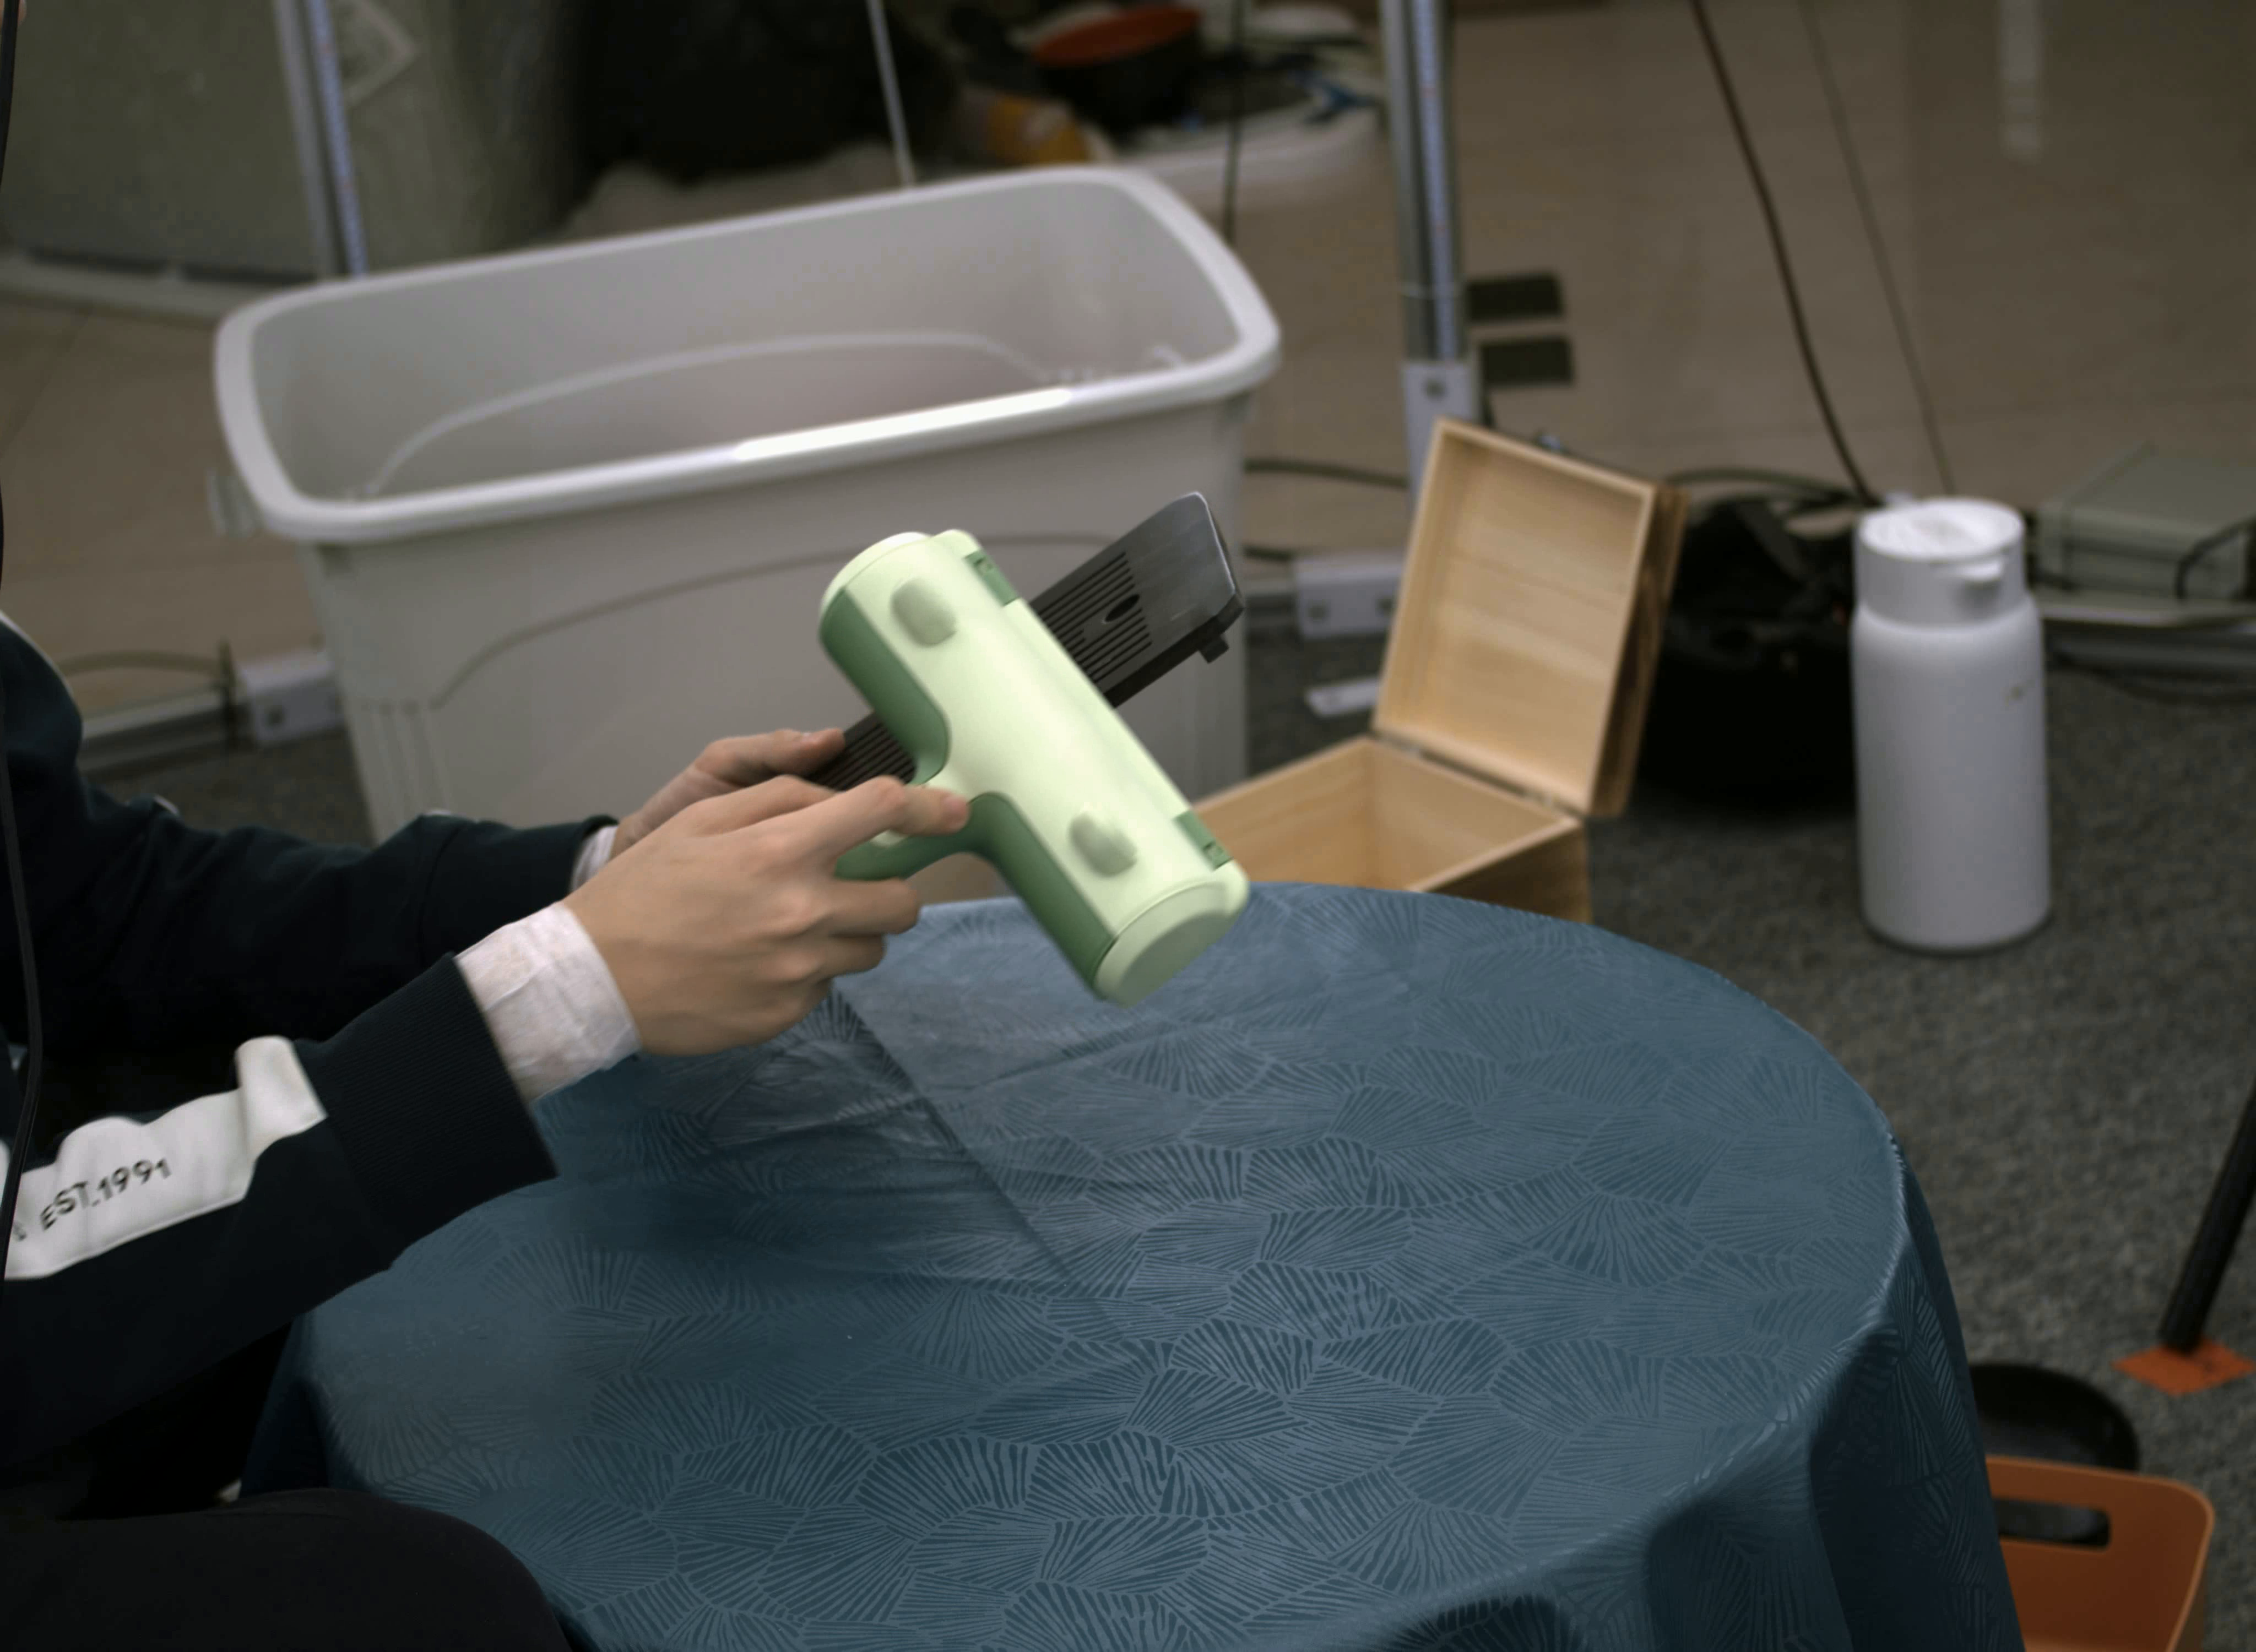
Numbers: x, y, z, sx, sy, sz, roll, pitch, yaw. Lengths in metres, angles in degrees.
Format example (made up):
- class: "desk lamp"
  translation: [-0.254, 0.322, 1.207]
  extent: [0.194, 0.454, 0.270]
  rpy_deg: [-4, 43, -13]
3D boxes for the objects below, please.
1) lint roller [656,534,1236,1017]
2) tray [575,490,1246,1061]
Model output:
- class: "lint roller"
  translation: [-0.087, -0.002, 2.012]
  extent: [0.182, 0.083, 0.196]
  rpy_deg: [-27, 65, -23]
- class: "tray"
  translation: [-0.085, -0.019, 2.185]
  extent: [0.306, 0.019, 0.168]
  rpy_deg: [-35, 17, 8]
